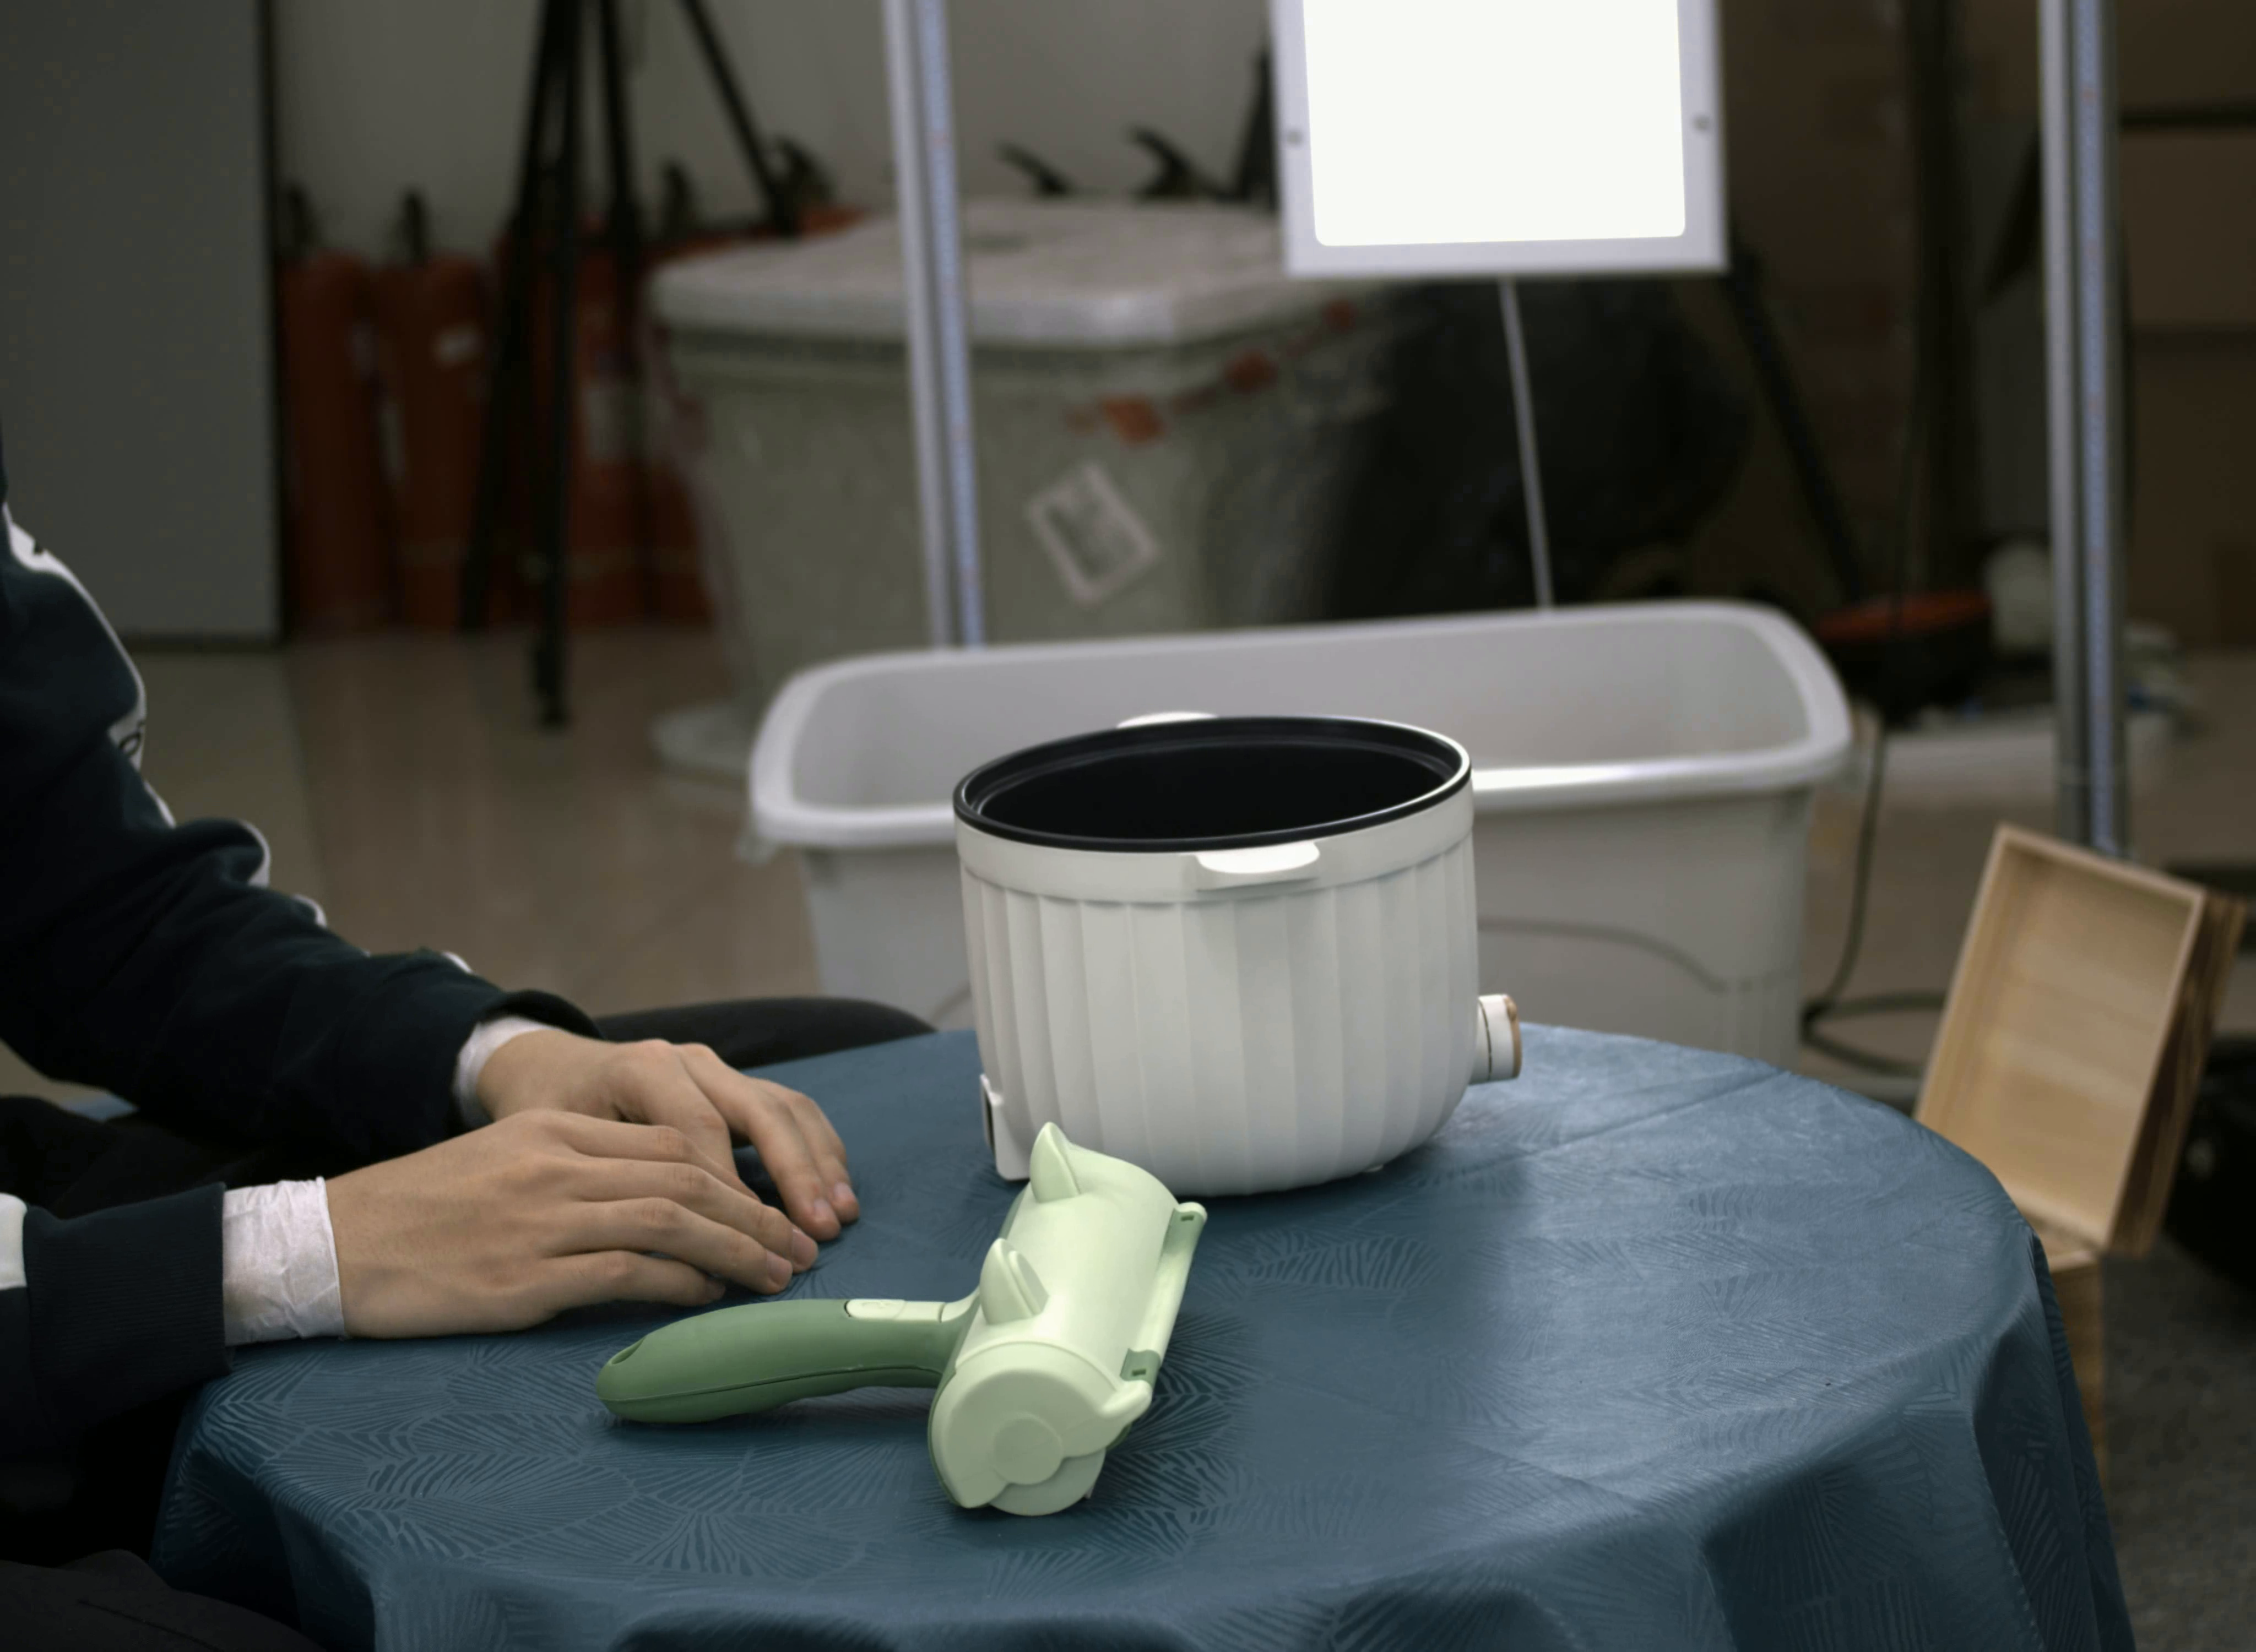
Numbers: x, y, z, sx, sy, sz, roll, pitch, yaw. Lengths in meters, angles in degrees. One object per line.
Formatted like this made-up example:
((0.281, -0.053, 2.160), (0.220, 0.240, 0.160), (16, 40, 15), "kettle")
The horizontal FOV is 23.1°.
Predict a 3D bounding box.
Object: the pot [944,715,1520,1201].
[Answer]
((0.038, 0.046, 1.918), (0.189, 0.143, 0.241), (-10, 15, -5), "pot")

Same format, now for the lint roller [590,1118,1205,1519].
((-0.075, 0.144, 1.691), (0.184, 0.082, 0.197), (2, 15, 7), "lint roller")
